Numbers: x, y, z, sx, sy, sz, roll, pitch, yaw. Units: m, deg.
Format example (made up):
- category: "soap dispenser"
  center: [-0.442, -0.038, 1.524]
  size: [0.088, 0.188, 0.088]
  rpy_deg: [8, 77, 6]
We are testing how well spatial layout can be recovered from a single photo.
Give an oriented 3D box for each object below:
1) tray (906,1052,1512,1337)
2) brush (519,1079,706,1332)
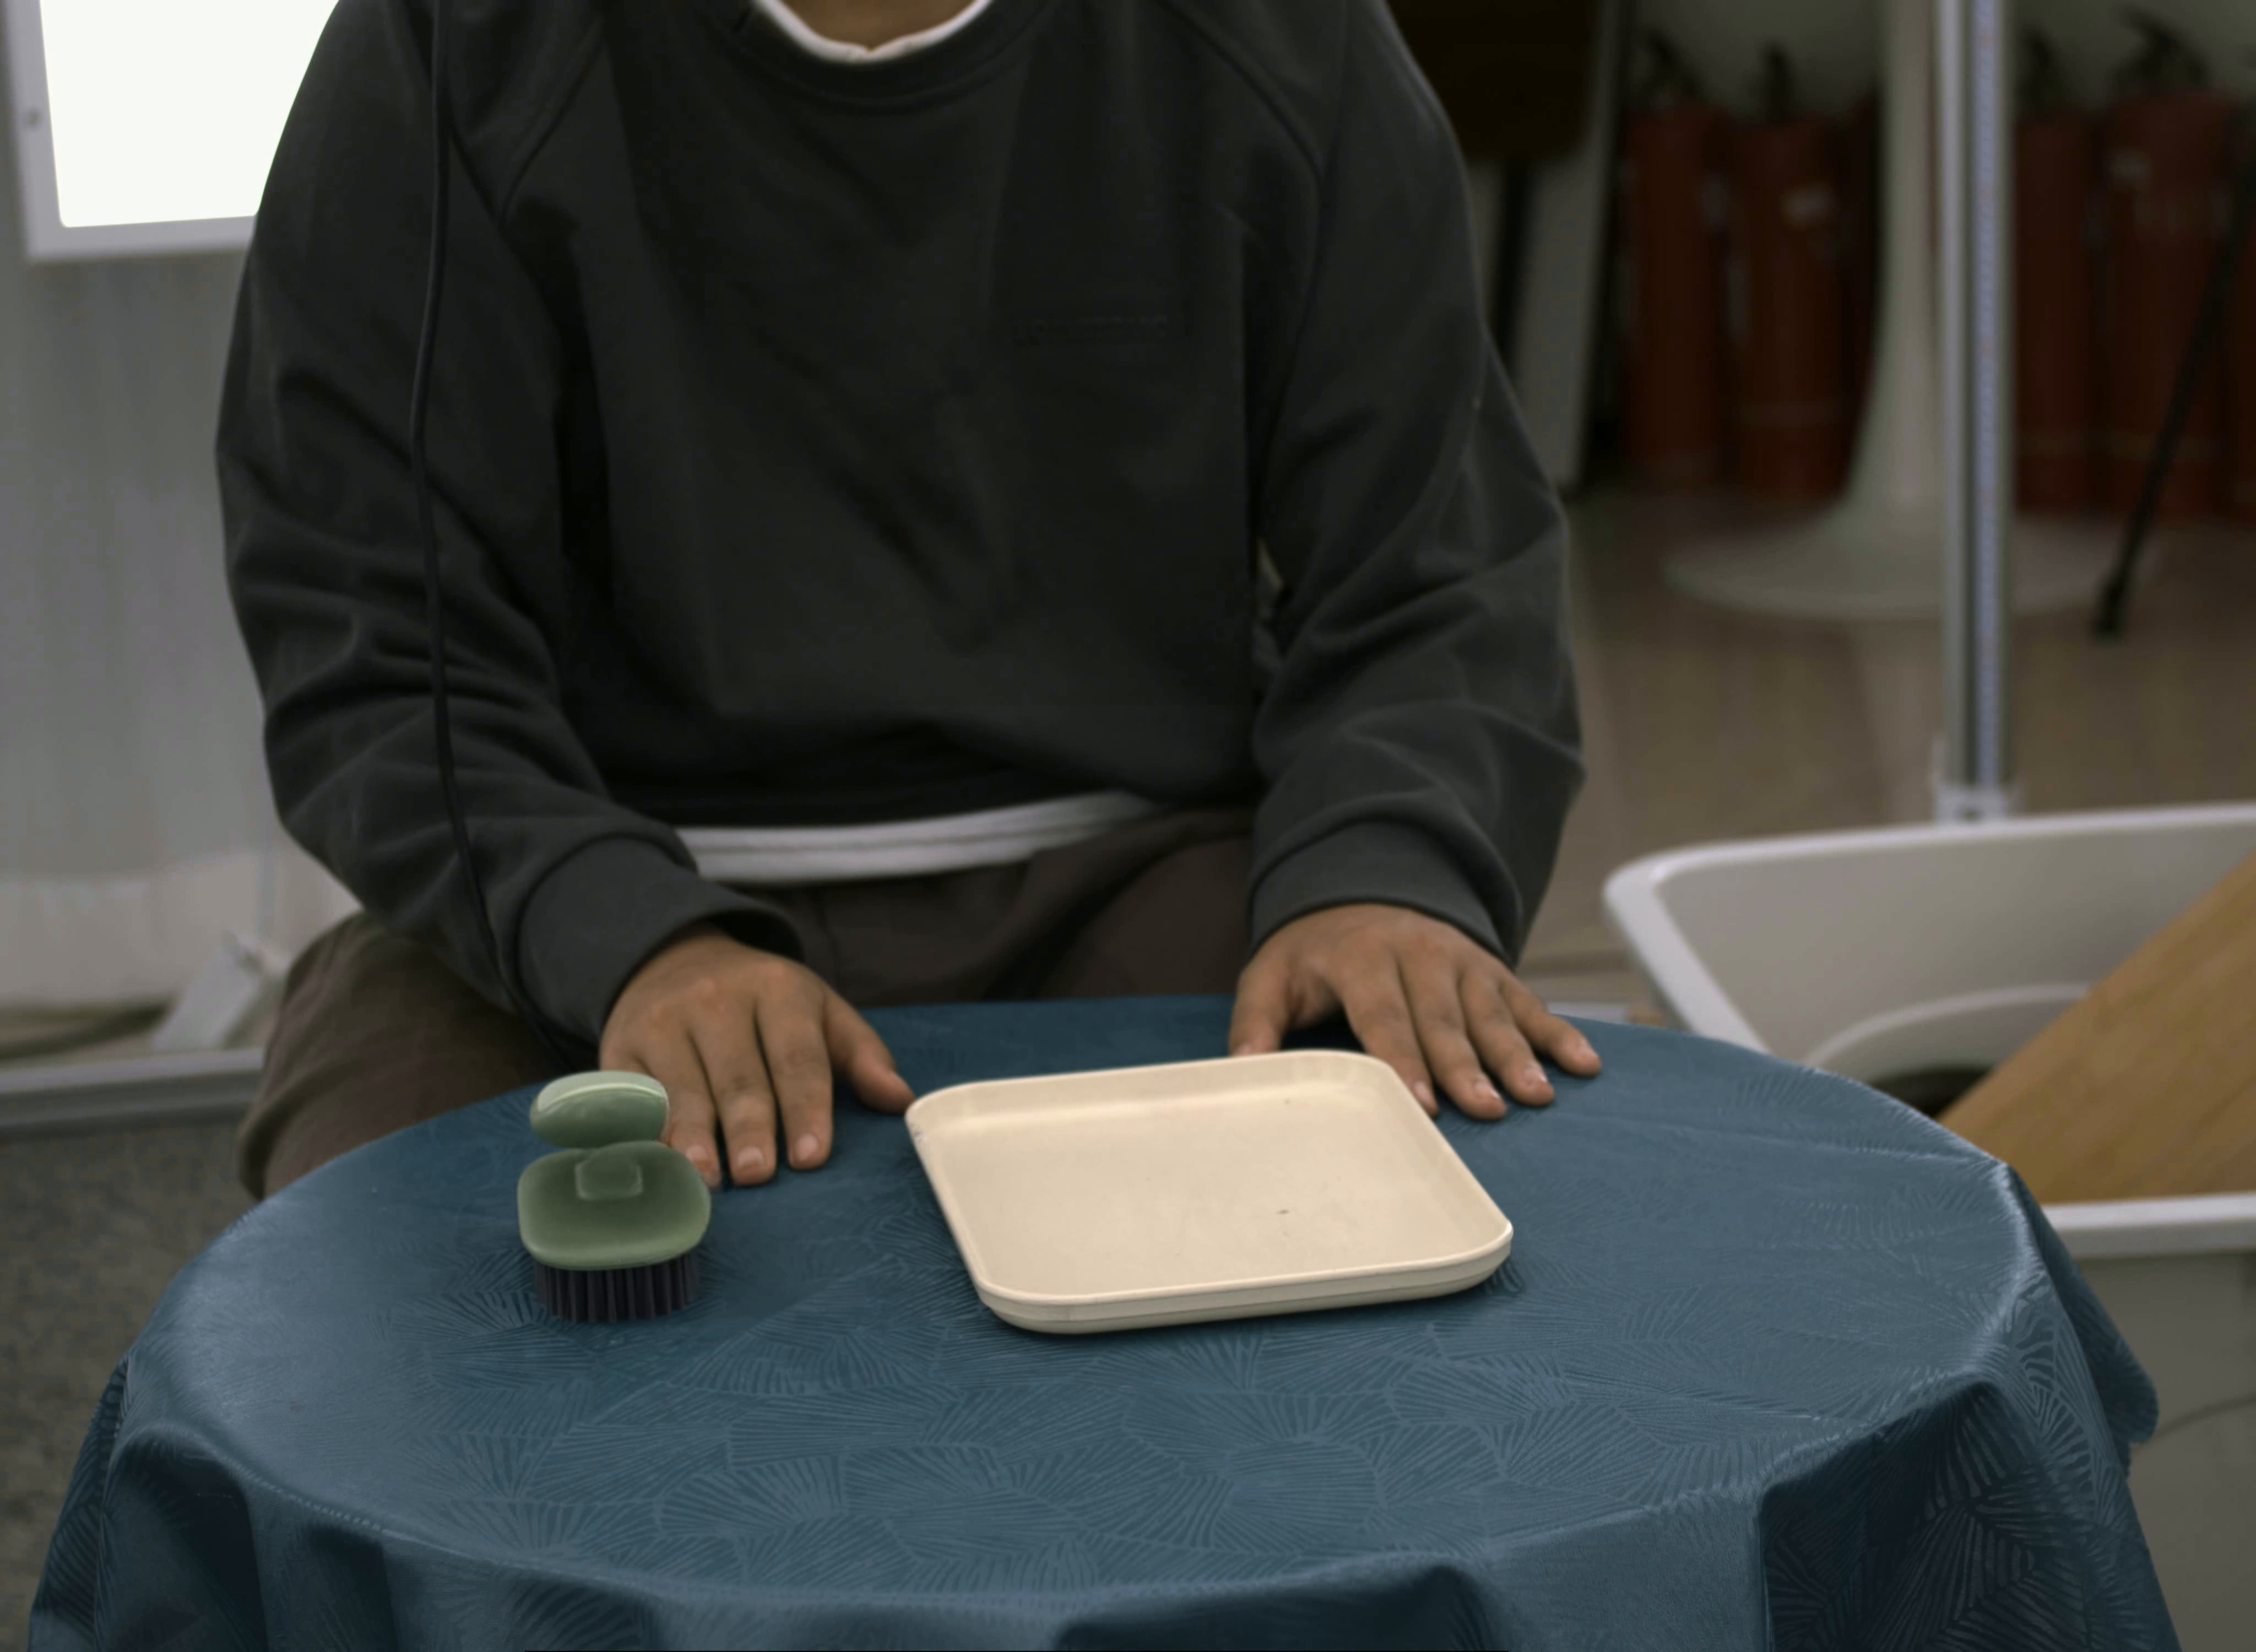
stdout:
- category: "tray"
  center: [0.023, 0.118, 1.743]
  size: [0.168, 0.017, 0.241]
  rpy_deg: [-5, 14, -7]
- category: "brush"
  center: [-0.164, 0.119, 1.722]
  size: [0.058, 0.077, 0.123]
  rpy_deg: [-4, 0, -7]
